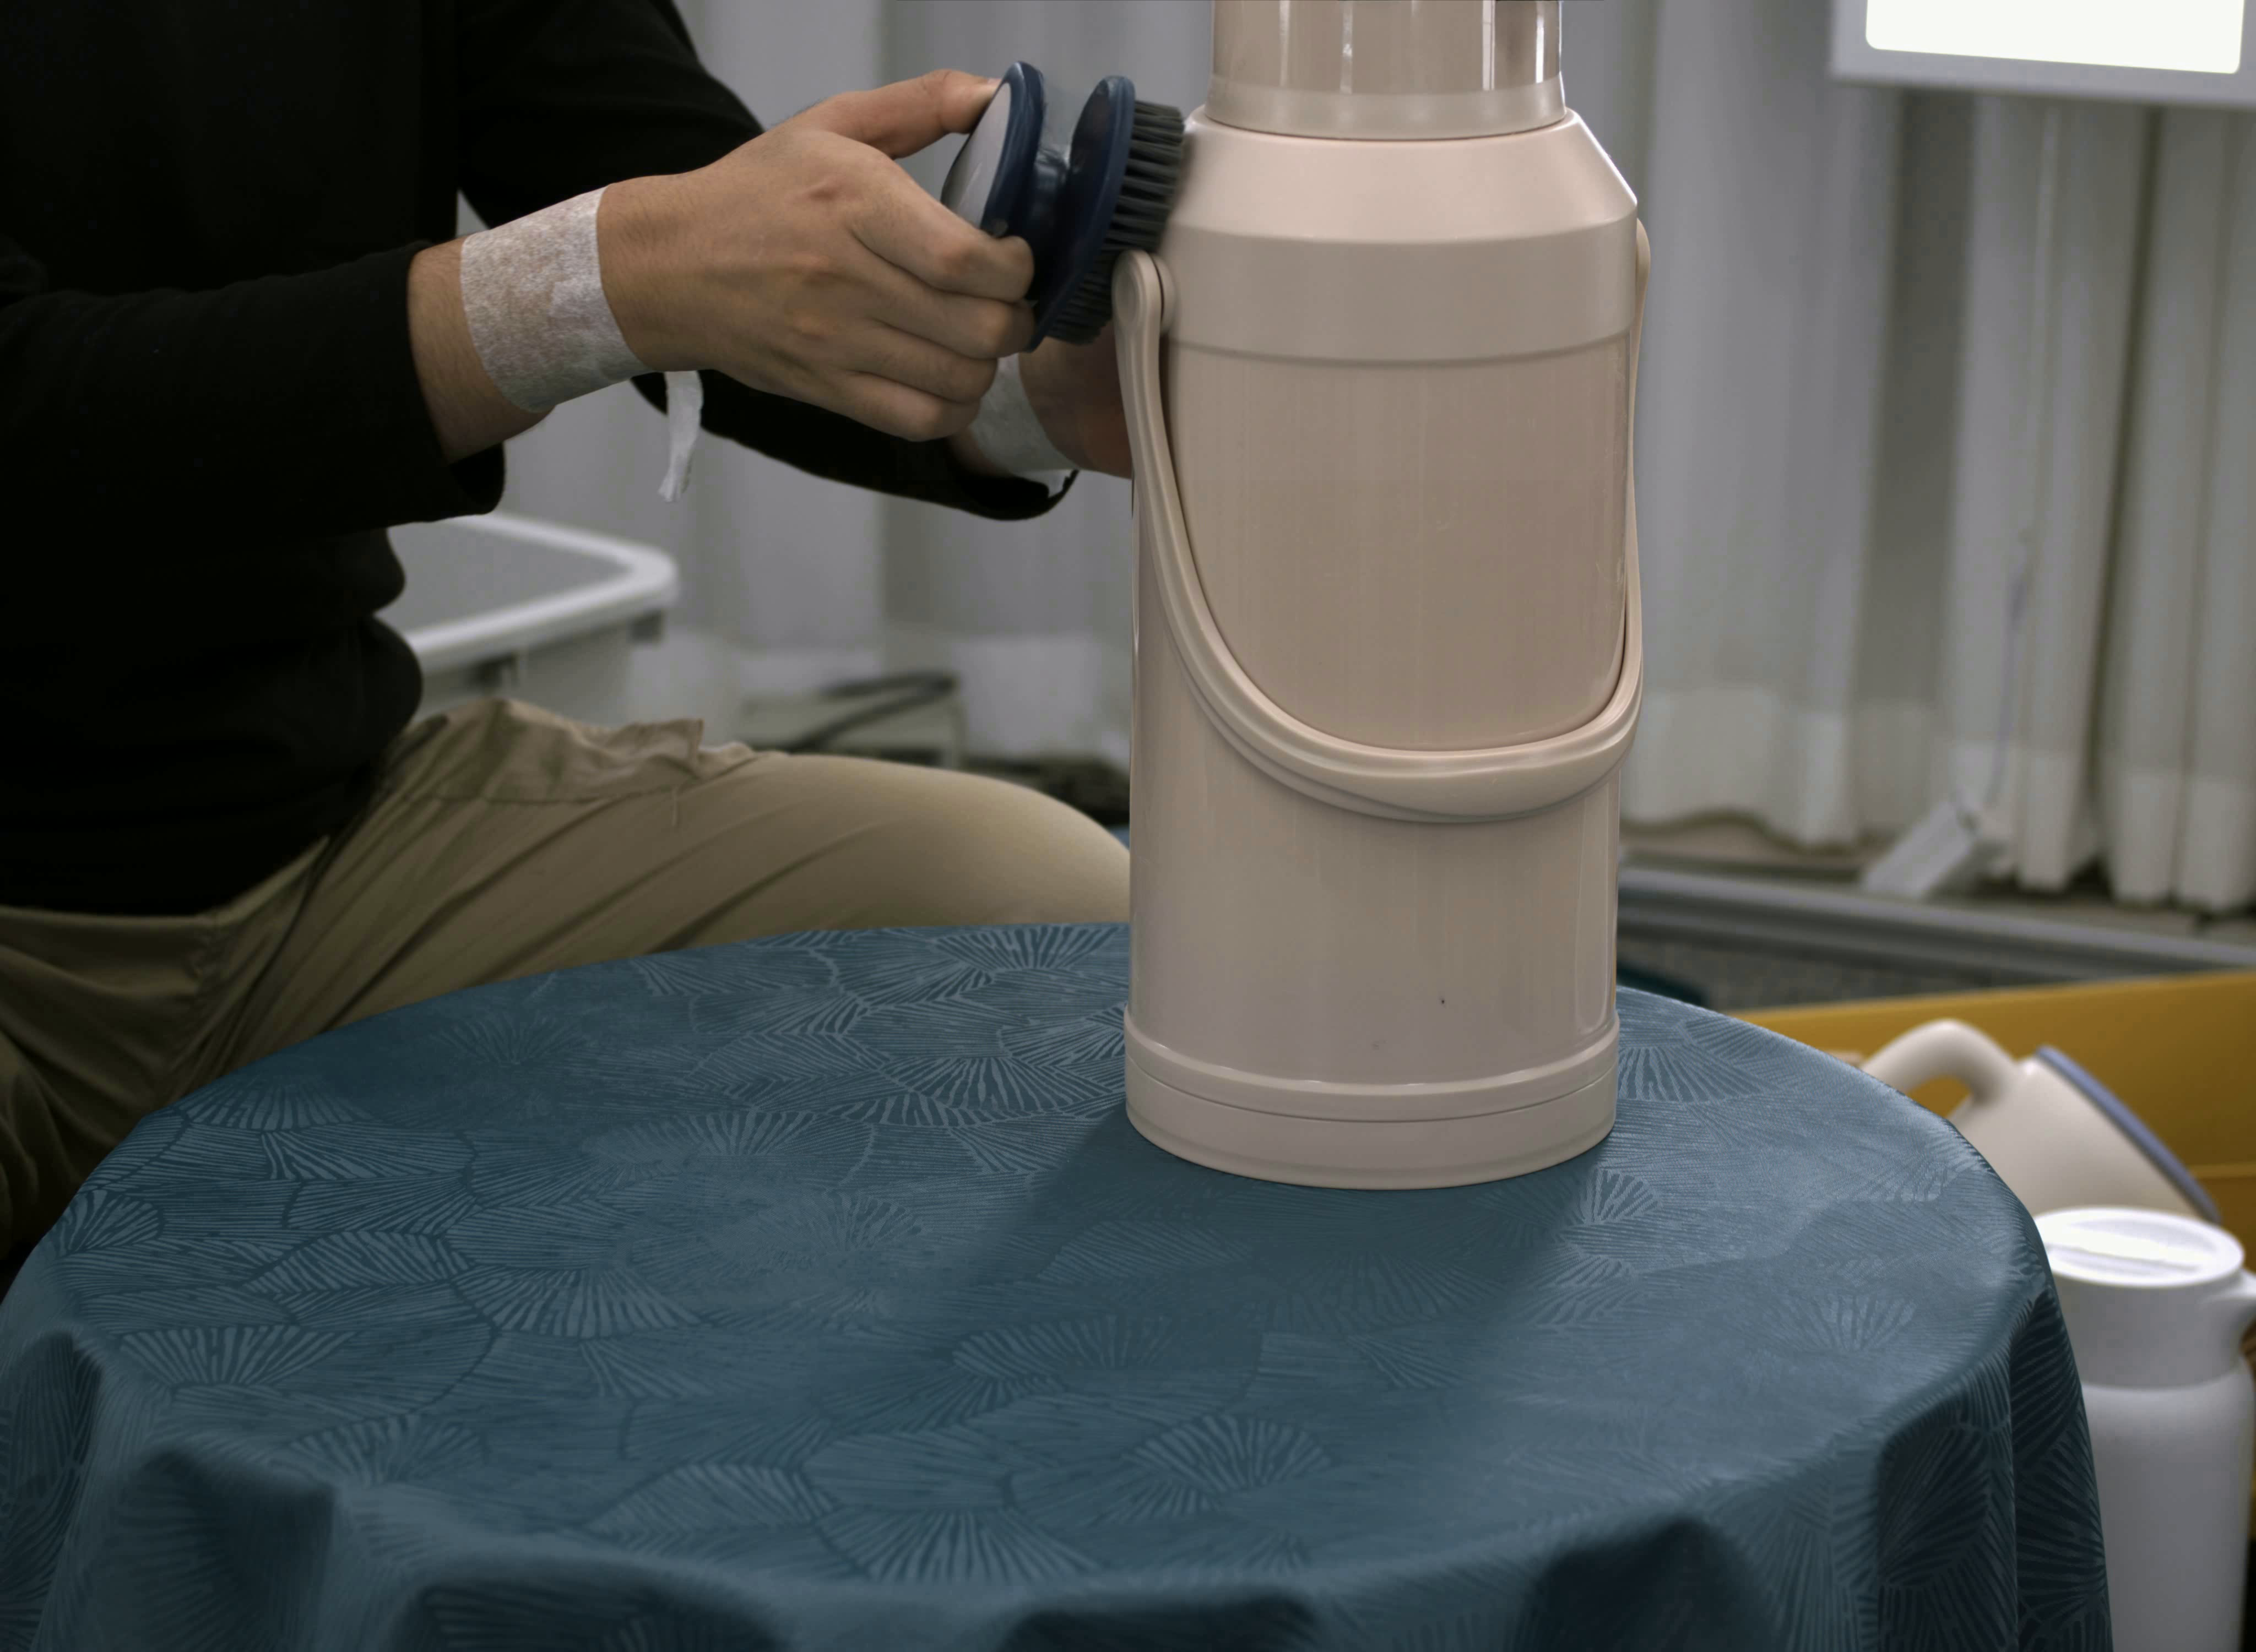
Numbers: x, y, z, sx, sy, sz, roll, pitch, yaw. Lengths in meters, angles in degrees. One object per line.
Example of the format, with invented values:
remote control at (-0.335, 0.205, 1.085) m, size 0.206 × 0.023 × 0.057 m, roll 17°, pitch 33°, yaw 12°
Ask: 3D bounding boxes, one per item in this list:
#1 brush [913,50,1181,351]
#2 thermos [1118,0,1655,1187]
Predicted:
brush at (-0.023, -0.190, 1.618) m, size 0.061 × 0.067 × 0.121 m, roll 14°, pitch -22°, yaw -13°
thermos at (0.076, -0.104, 1.657) m, size 0.176 × 0.410 × 0.204 m, roll -9°, pitch 19°, yaw -24°
